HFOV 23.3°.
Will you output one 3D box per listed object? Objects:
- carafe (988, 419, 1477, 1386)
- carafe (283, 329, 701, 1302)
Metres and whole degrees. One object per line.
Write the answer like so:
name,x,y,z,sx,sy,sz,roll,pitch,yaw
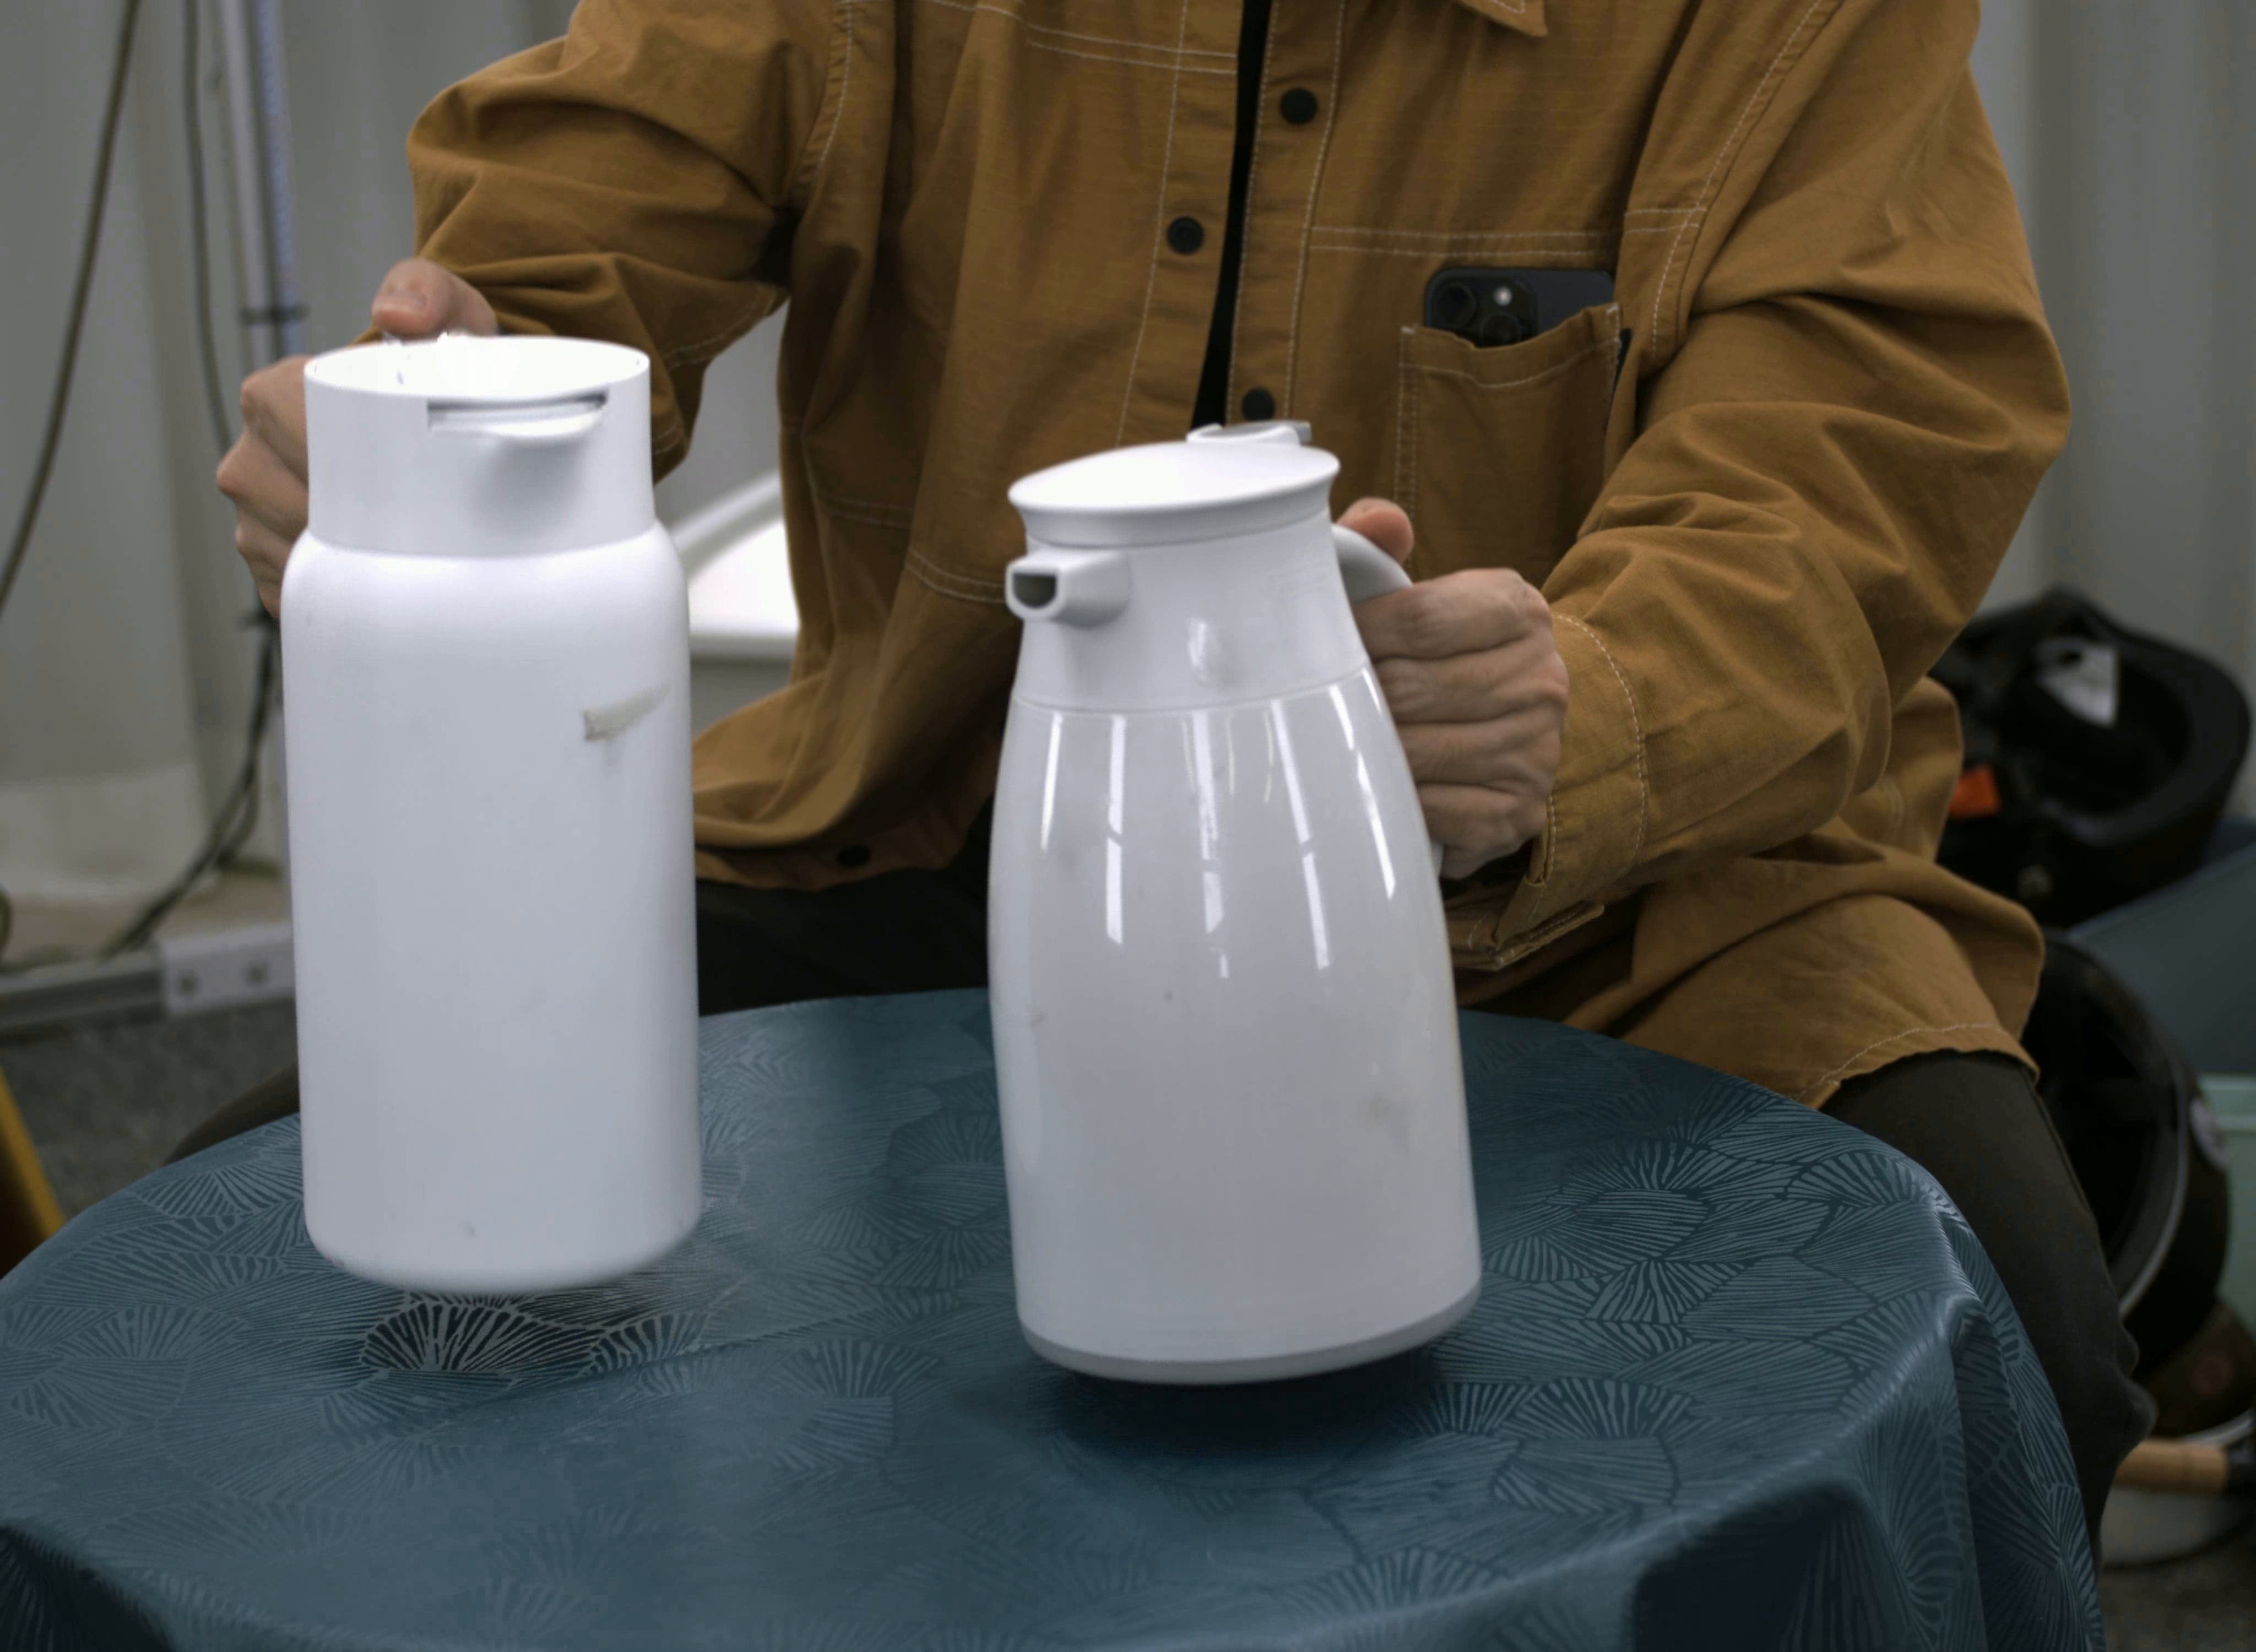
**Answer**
carafe,0.034,0.013,1.534,0.133,0.248,0.167,4,14,38
carafe,-0.192,-0.008,1.605,0.123,0.268,0.174,-8,15,-22
